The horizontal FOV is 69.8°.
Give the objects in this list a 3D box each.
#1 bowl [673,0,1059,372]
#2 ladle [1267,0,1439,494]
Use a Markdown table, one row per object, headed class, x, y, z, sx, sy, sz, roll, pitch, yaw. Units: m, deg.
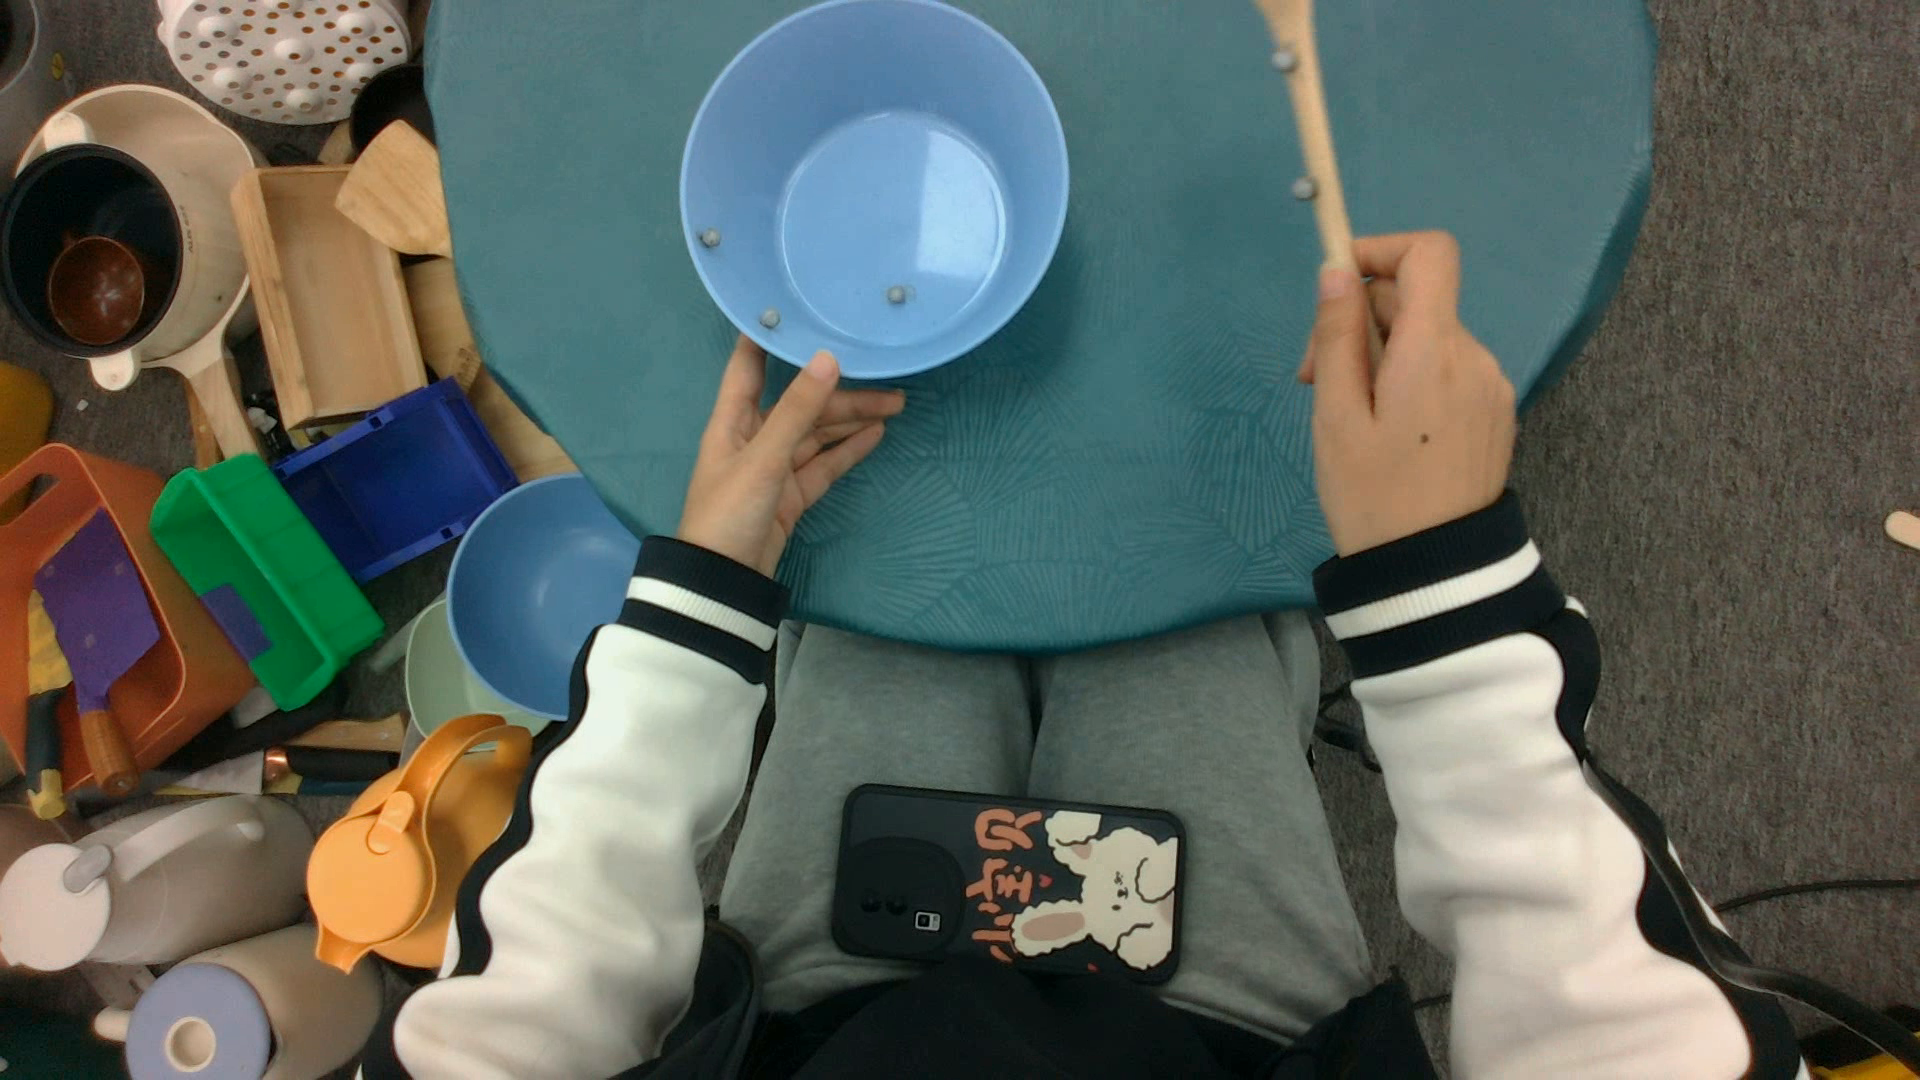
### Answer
| class | x | y | z | sx | sy | sz | roll | pitch | yaw |
| --- | --- | --- | --- | --- | --- | --- | --- | --- | --- |
| bowl | -0.040 | -0.159 | 0.647 | 0.176 | 0.070 | 0.176 | -1 | 84 | 6 |
| ladle | 0.114 | -0.136 | 0.499 | 0.073 | 0.072 | 0.254 | -10 | 85 | -26 |
